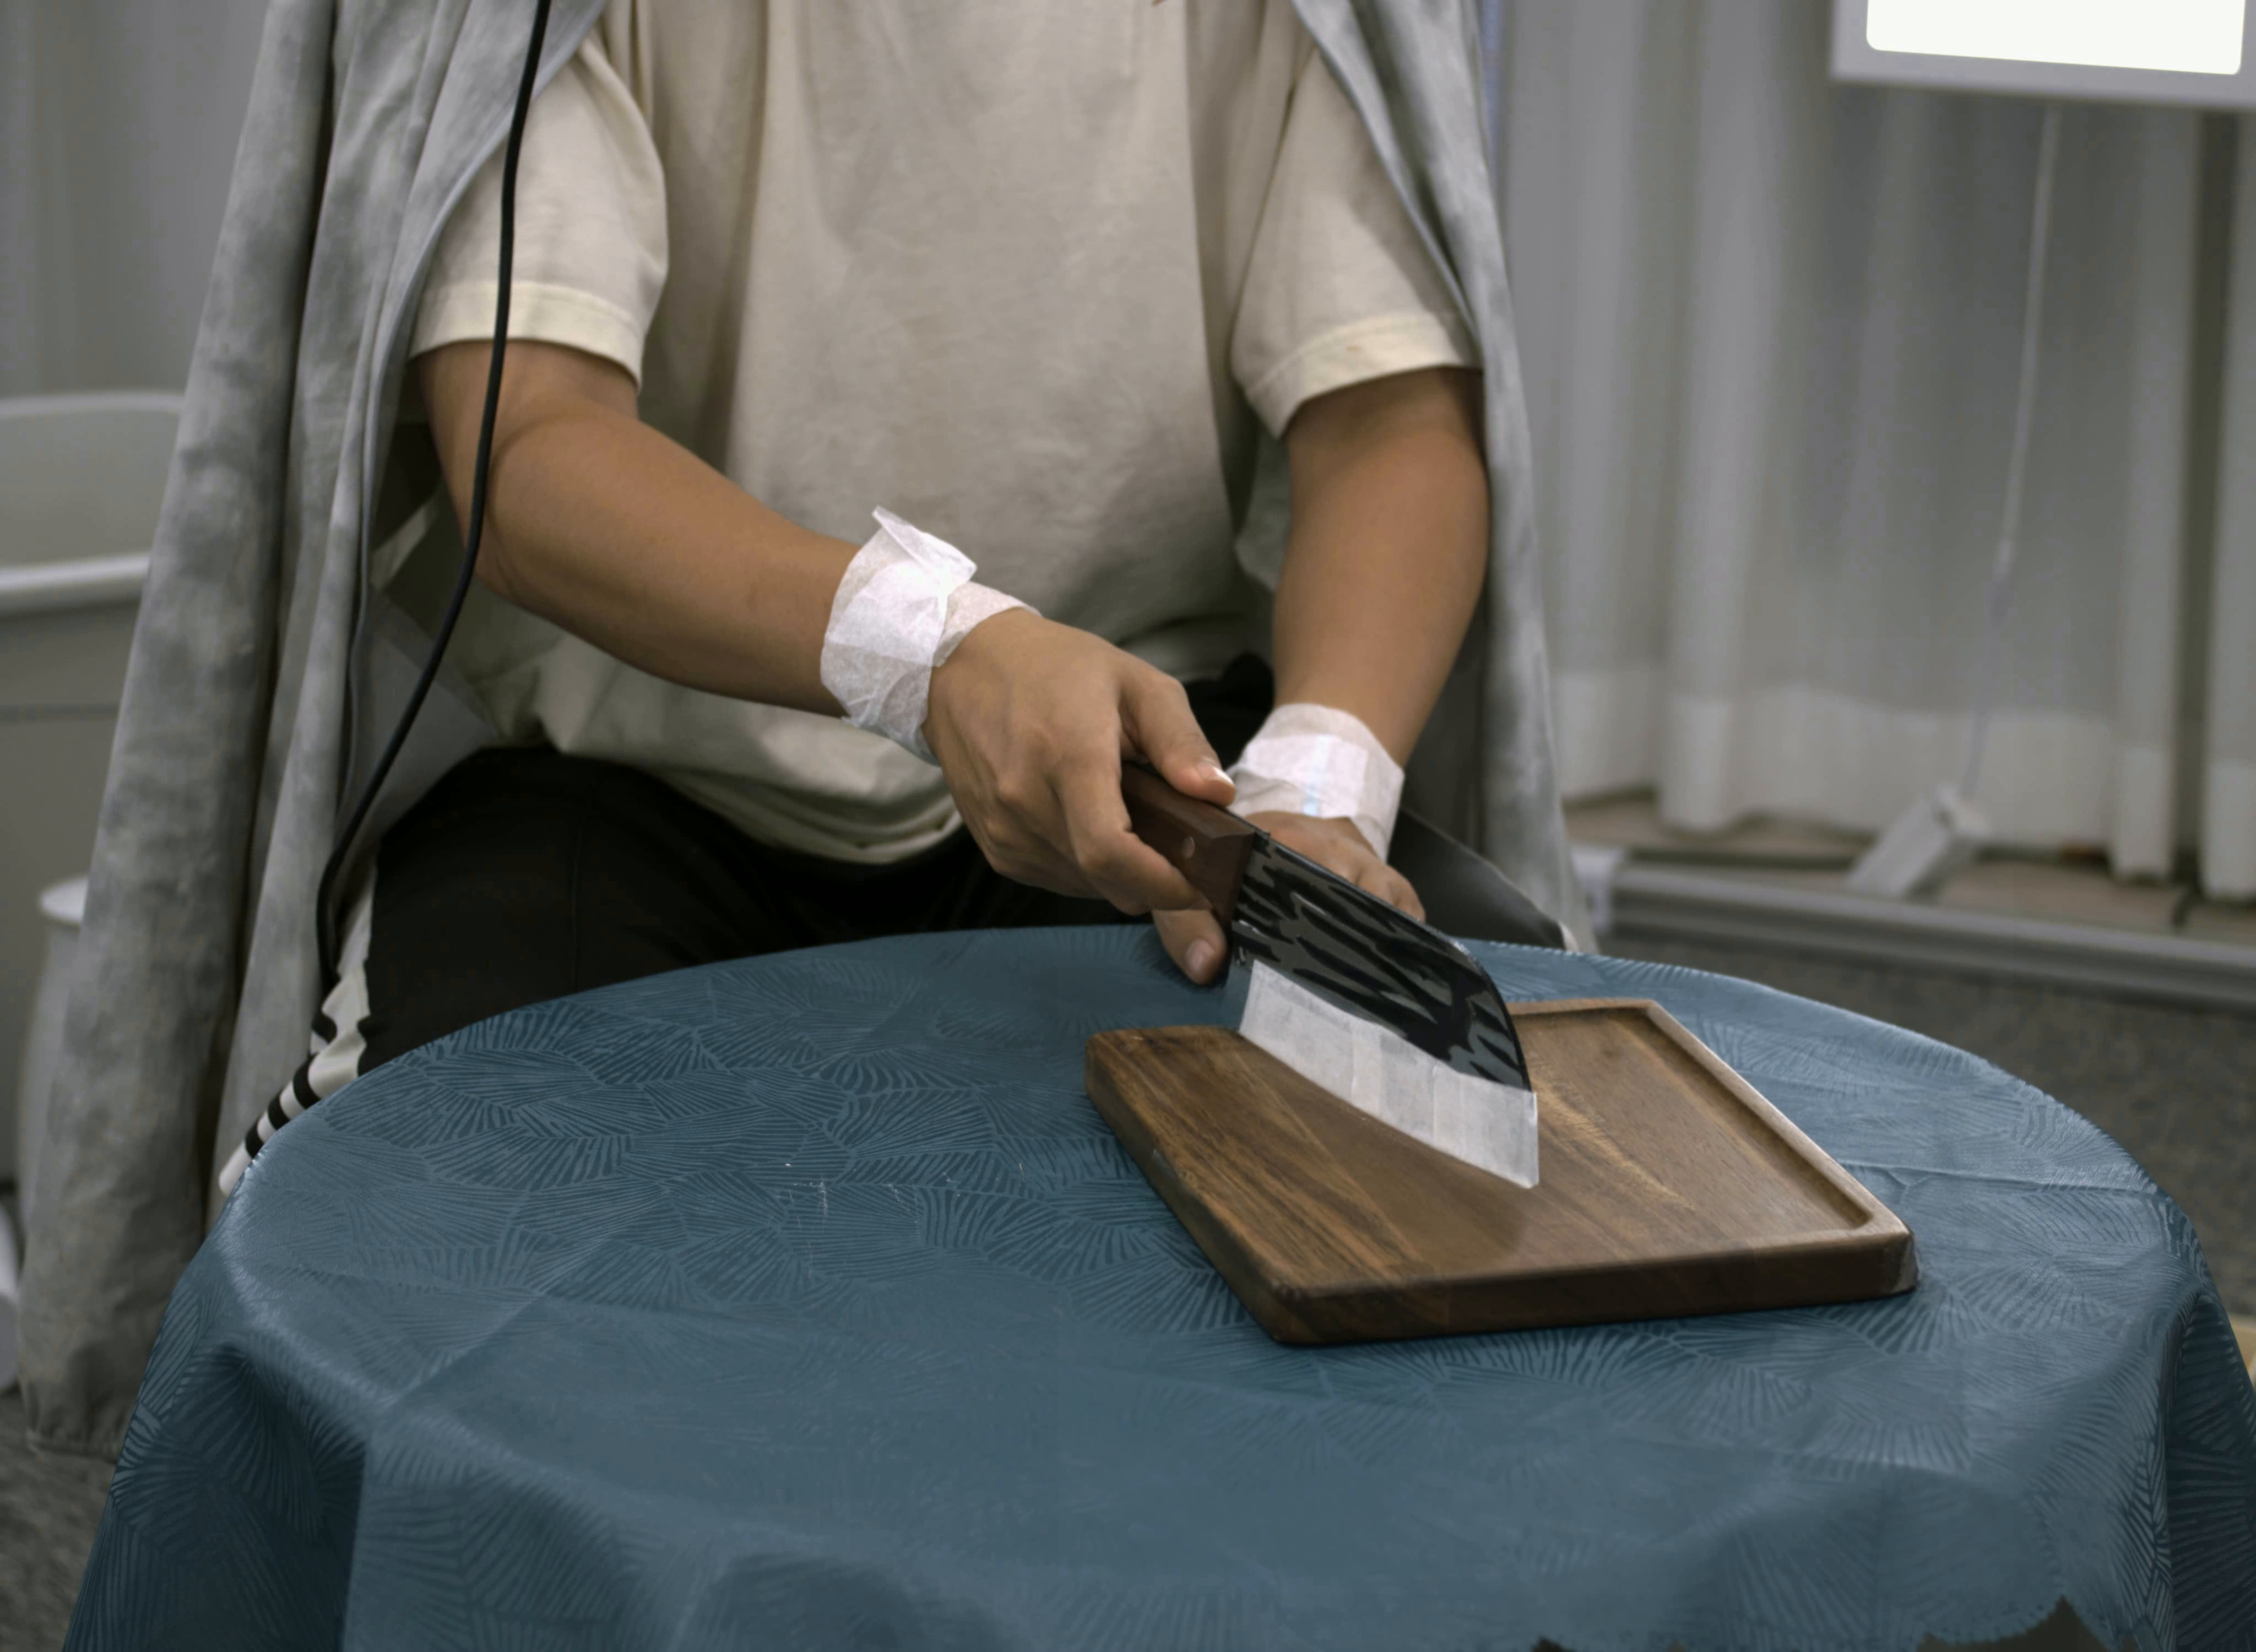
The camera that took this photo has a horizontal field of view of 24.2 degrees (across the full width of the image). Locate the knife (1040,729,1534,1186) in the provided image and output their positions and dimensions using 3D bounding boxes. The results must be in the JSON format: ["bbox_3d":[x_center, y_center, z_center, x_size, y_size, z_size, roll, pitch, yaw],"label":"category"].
[{"bbox_3d":[0.049,0.039,1.683,0.024,0.068,0.295,-1,19,-32],"label":"knife"}]

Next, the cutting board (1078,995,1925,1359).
[{"bbox_3d":[0.097,0.091,1.676,0.201,0.023,0.349,-5,16,-14],"label":"cutting board"}]
